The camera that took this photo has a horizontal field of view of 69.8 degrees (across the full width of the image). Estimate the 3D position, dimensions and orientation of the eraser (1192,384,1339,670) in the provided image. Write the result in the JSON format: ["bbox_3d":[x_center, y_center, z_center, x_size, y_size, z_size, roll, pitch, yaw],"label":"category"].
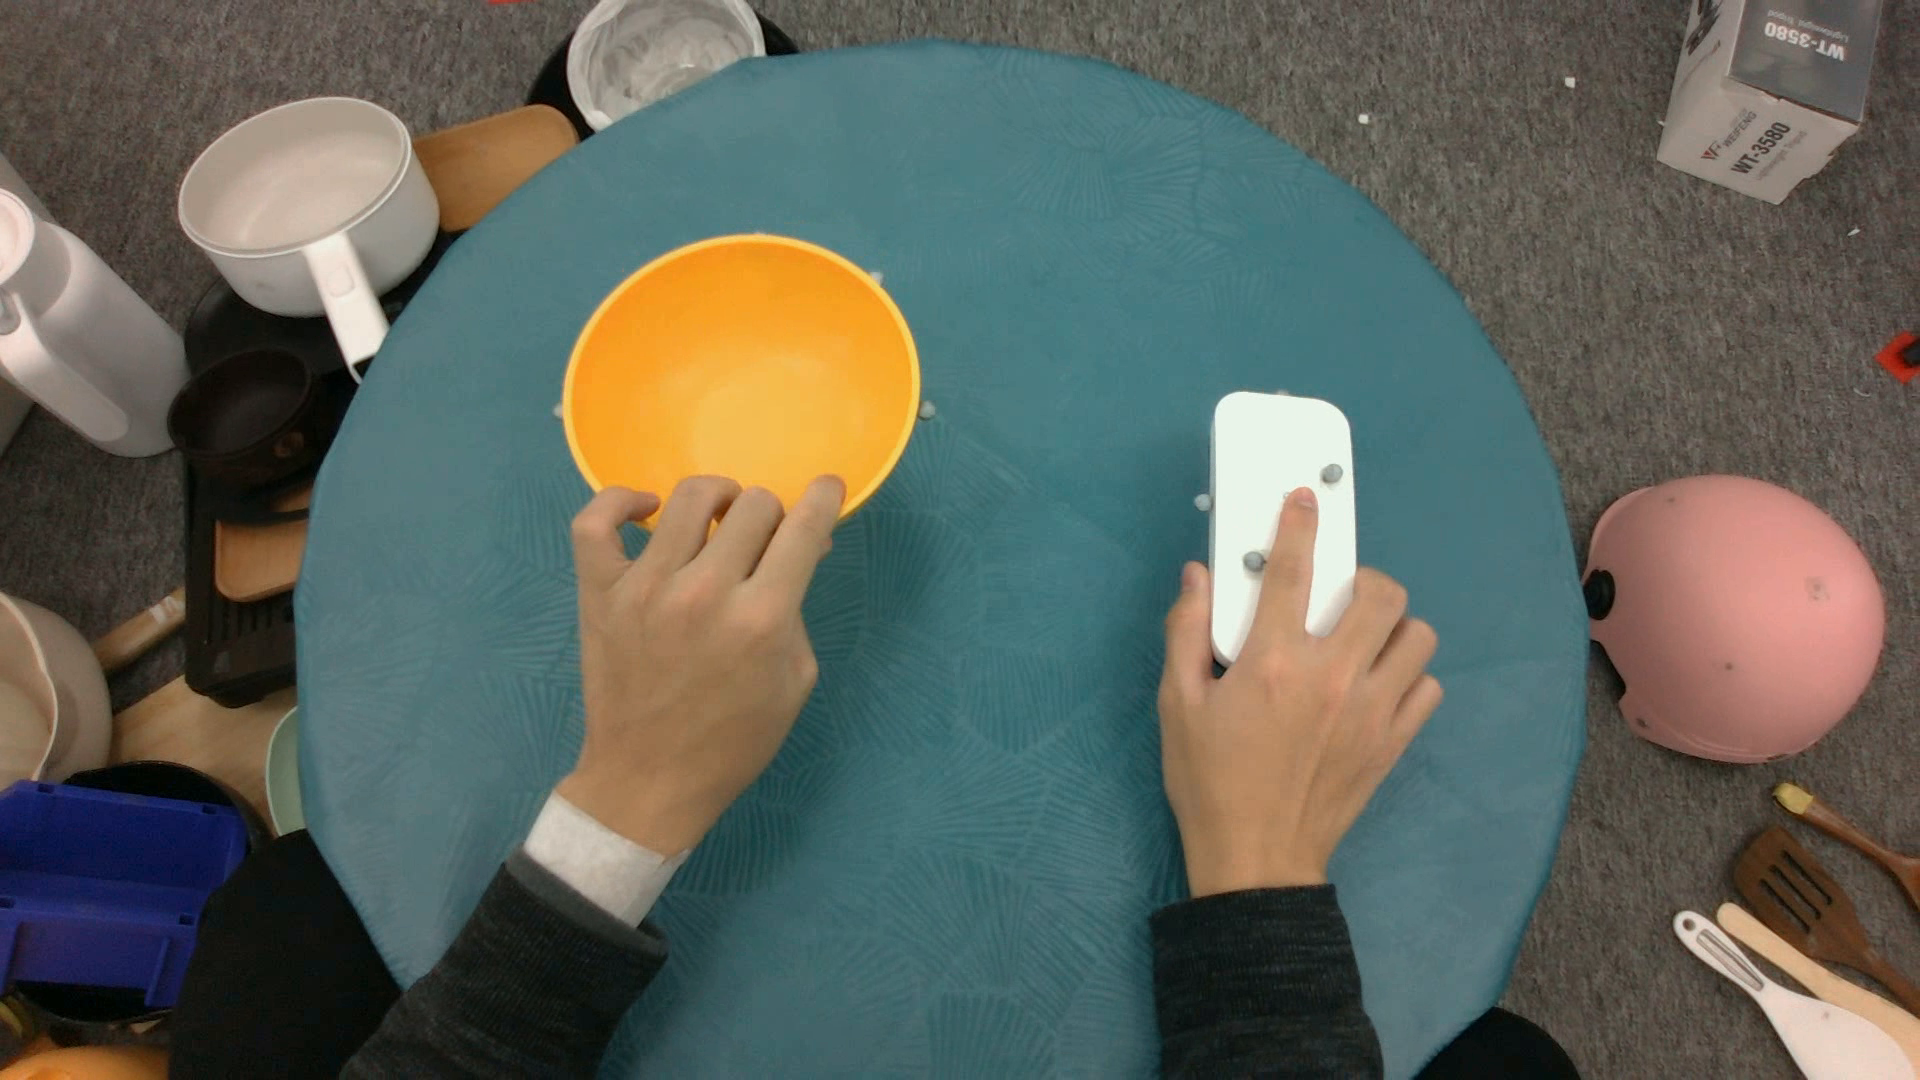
[{"bbox_3d":[0.131,-0.008,0.606,0.063,0.034,0.132,6,66,-1],"label":"eraser"}]

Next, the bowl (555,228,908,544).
[{"bbox_3d":[-0.092,-0.056,0.585,0.145,0.060,0.146,-1,68,2],"label":"bowl"}]
